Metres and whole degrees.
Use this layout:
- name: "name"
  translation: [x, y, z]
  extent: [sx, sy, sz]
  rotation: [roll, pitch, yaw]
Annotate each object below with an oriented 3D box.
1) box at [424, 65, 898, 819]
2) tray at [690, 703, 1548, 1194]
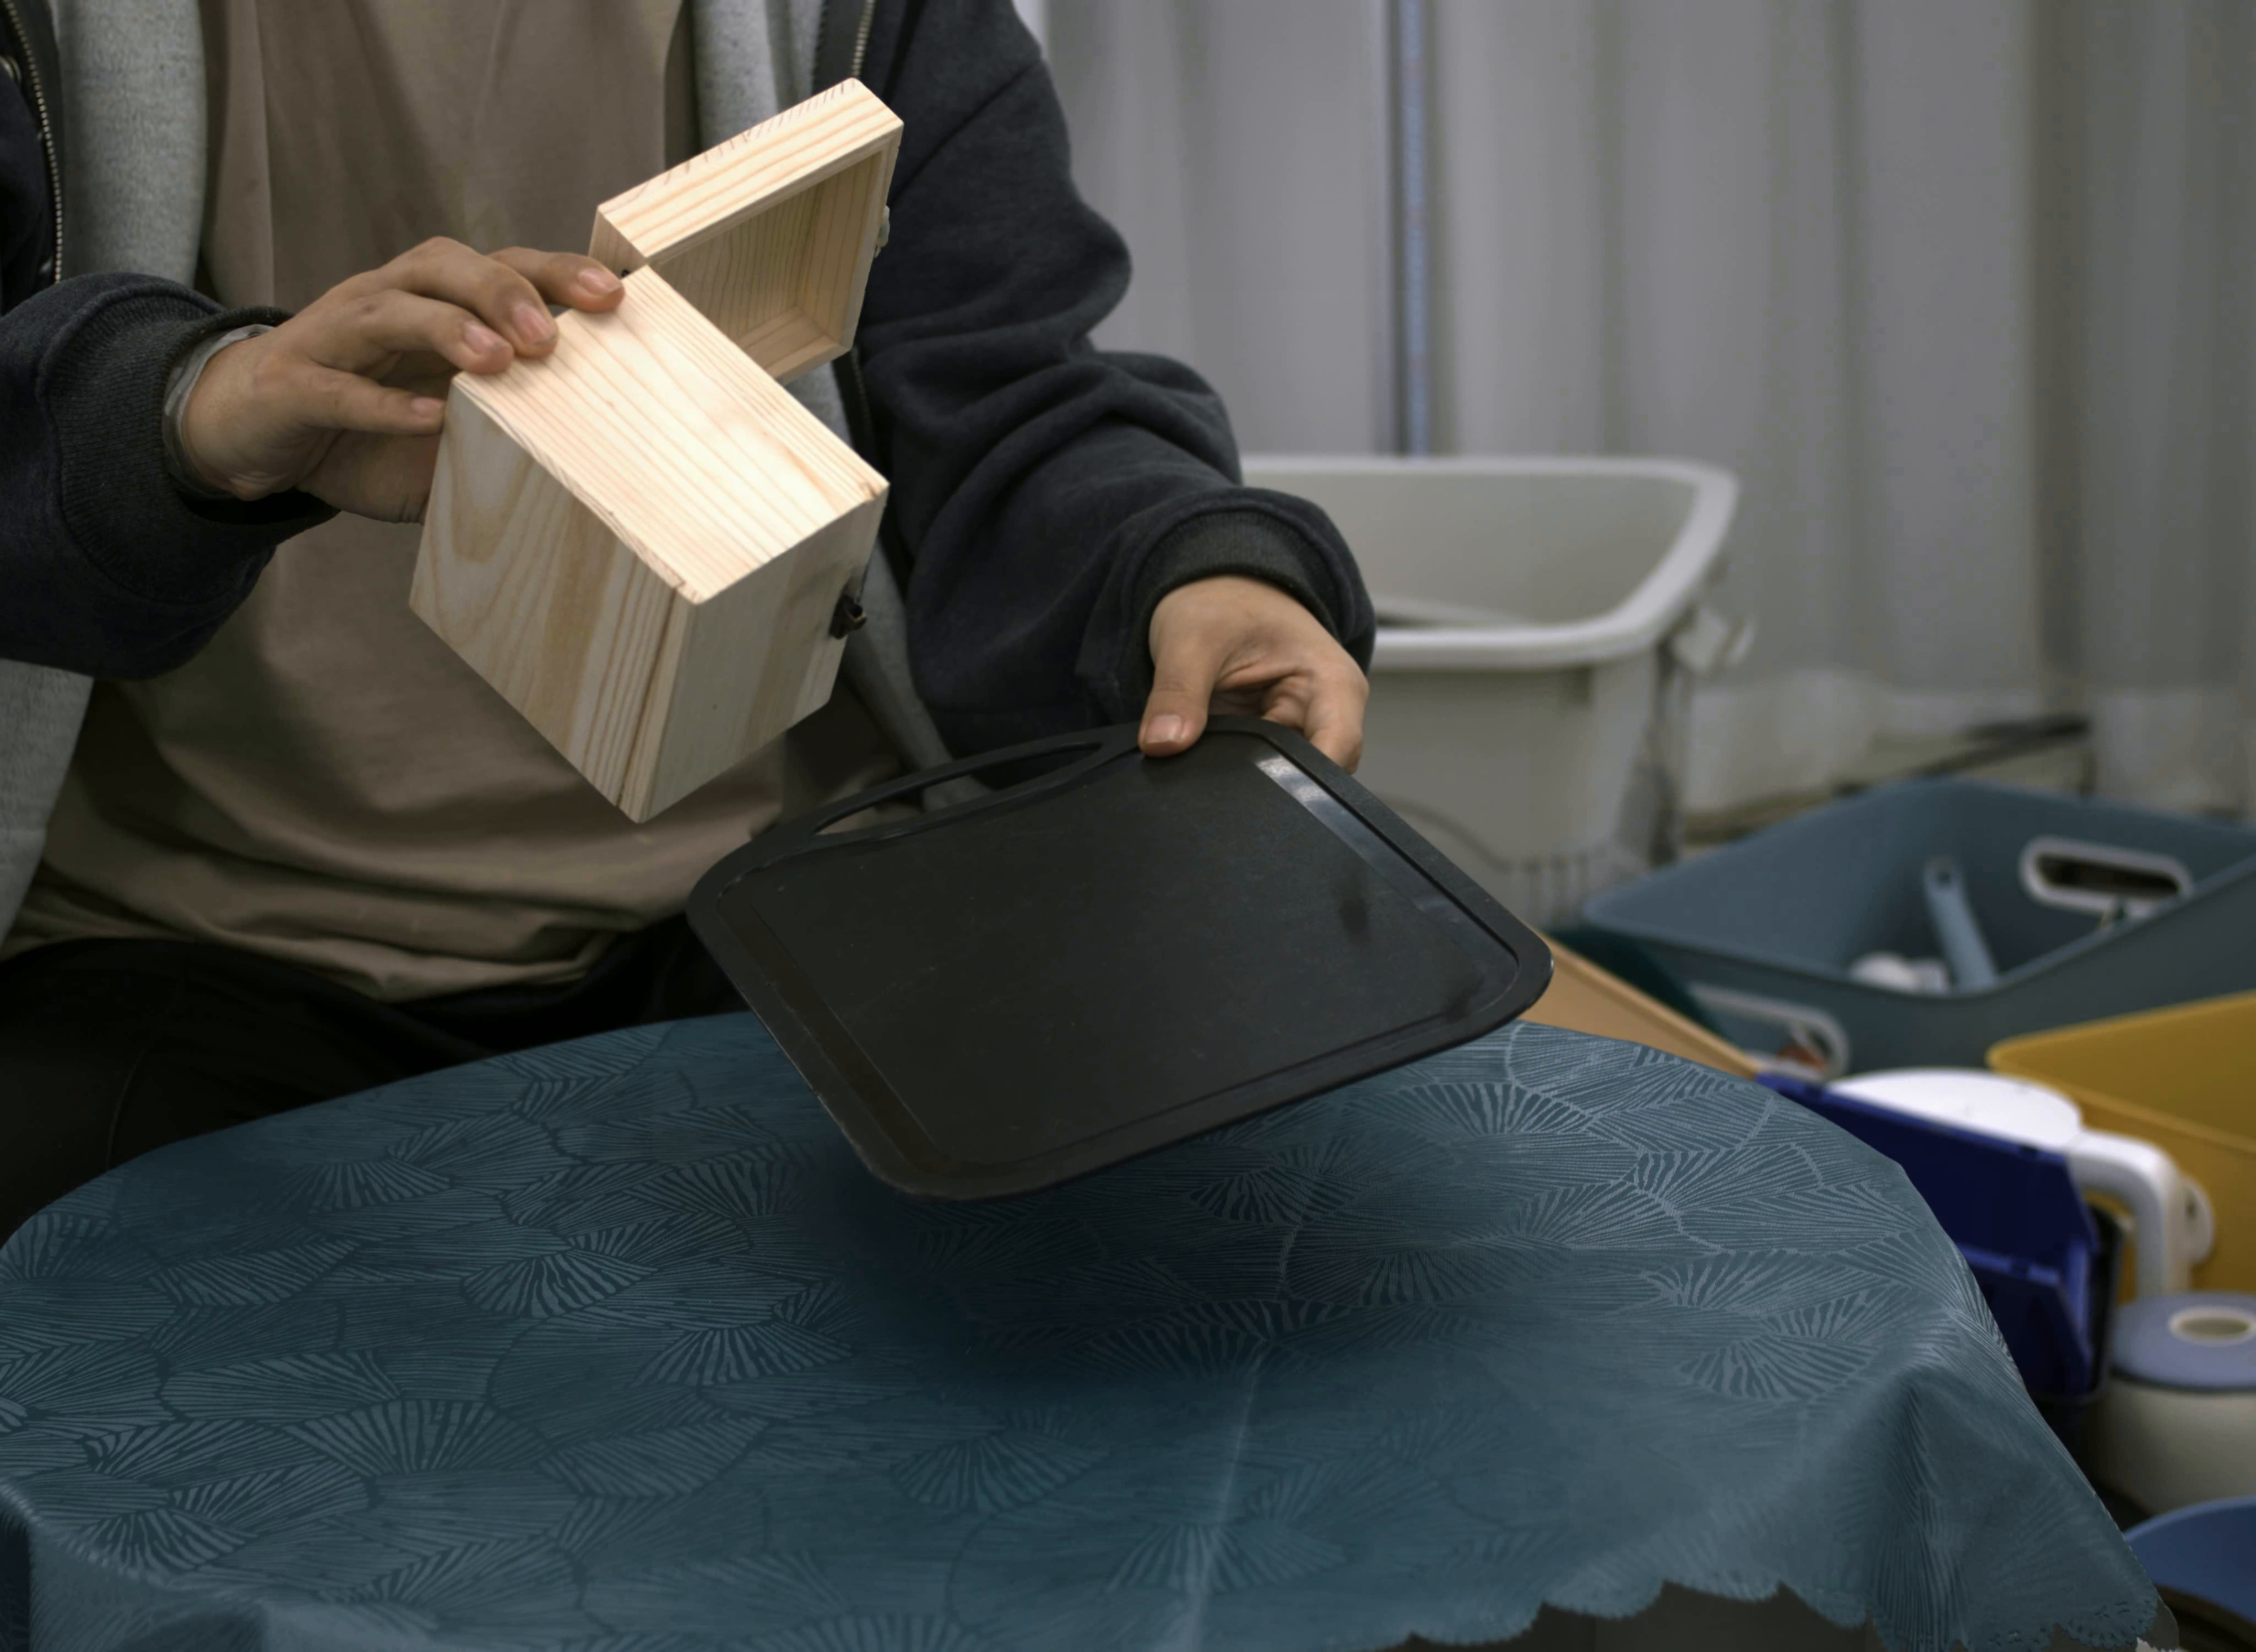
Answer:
- name: "box"
  translation: [-0.108, -0.114, 1.603]
  extent: [0.135, 0.101, 0.185]
  rotation: [41, 54, 18]
- name: "tray"
  translation: [-0.014, 0.028, 1.681]
  extent: [0.210, 0.010, 0.329]
  rotation: [-18, 23, -12]
